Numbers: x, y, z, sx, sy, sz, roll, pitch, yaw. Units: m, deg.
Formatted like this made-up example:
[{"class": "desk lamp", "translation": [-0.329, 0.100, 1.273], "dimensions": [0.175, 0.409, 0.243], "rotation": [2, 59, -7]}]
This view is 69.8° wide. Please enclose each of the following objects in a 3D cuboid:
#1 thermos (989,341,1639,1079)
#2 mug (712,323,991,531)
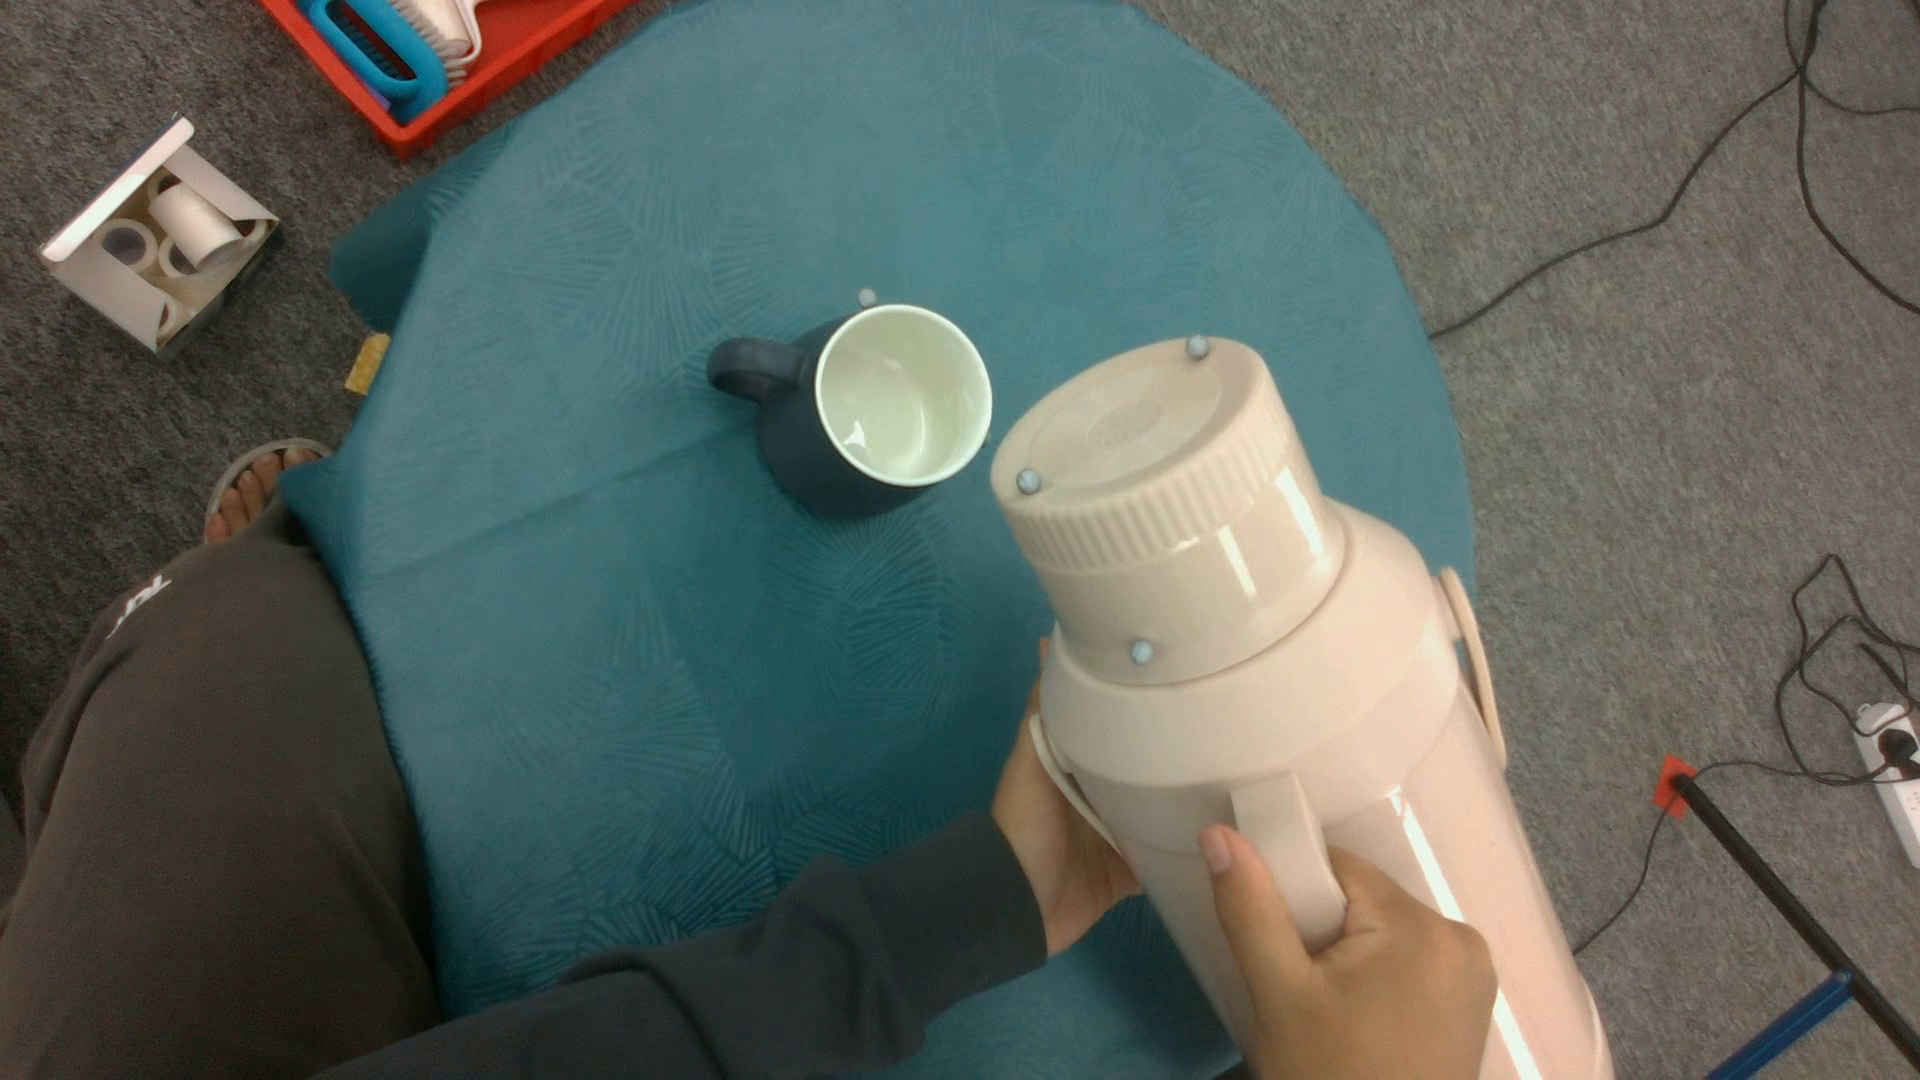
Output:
[{"class": "thermos", "translation": [0.152, 0.116, 0.575], "dimensions": [0.175, 0.208, 0.405], "rotation": [-25, 118, 15]}, {"class": "mug", "translation": [-0.053, -0.057, 0.635], "dimensions": [0.123, 0.089, 0.093], "rotation": [17, 79, -19]}]
